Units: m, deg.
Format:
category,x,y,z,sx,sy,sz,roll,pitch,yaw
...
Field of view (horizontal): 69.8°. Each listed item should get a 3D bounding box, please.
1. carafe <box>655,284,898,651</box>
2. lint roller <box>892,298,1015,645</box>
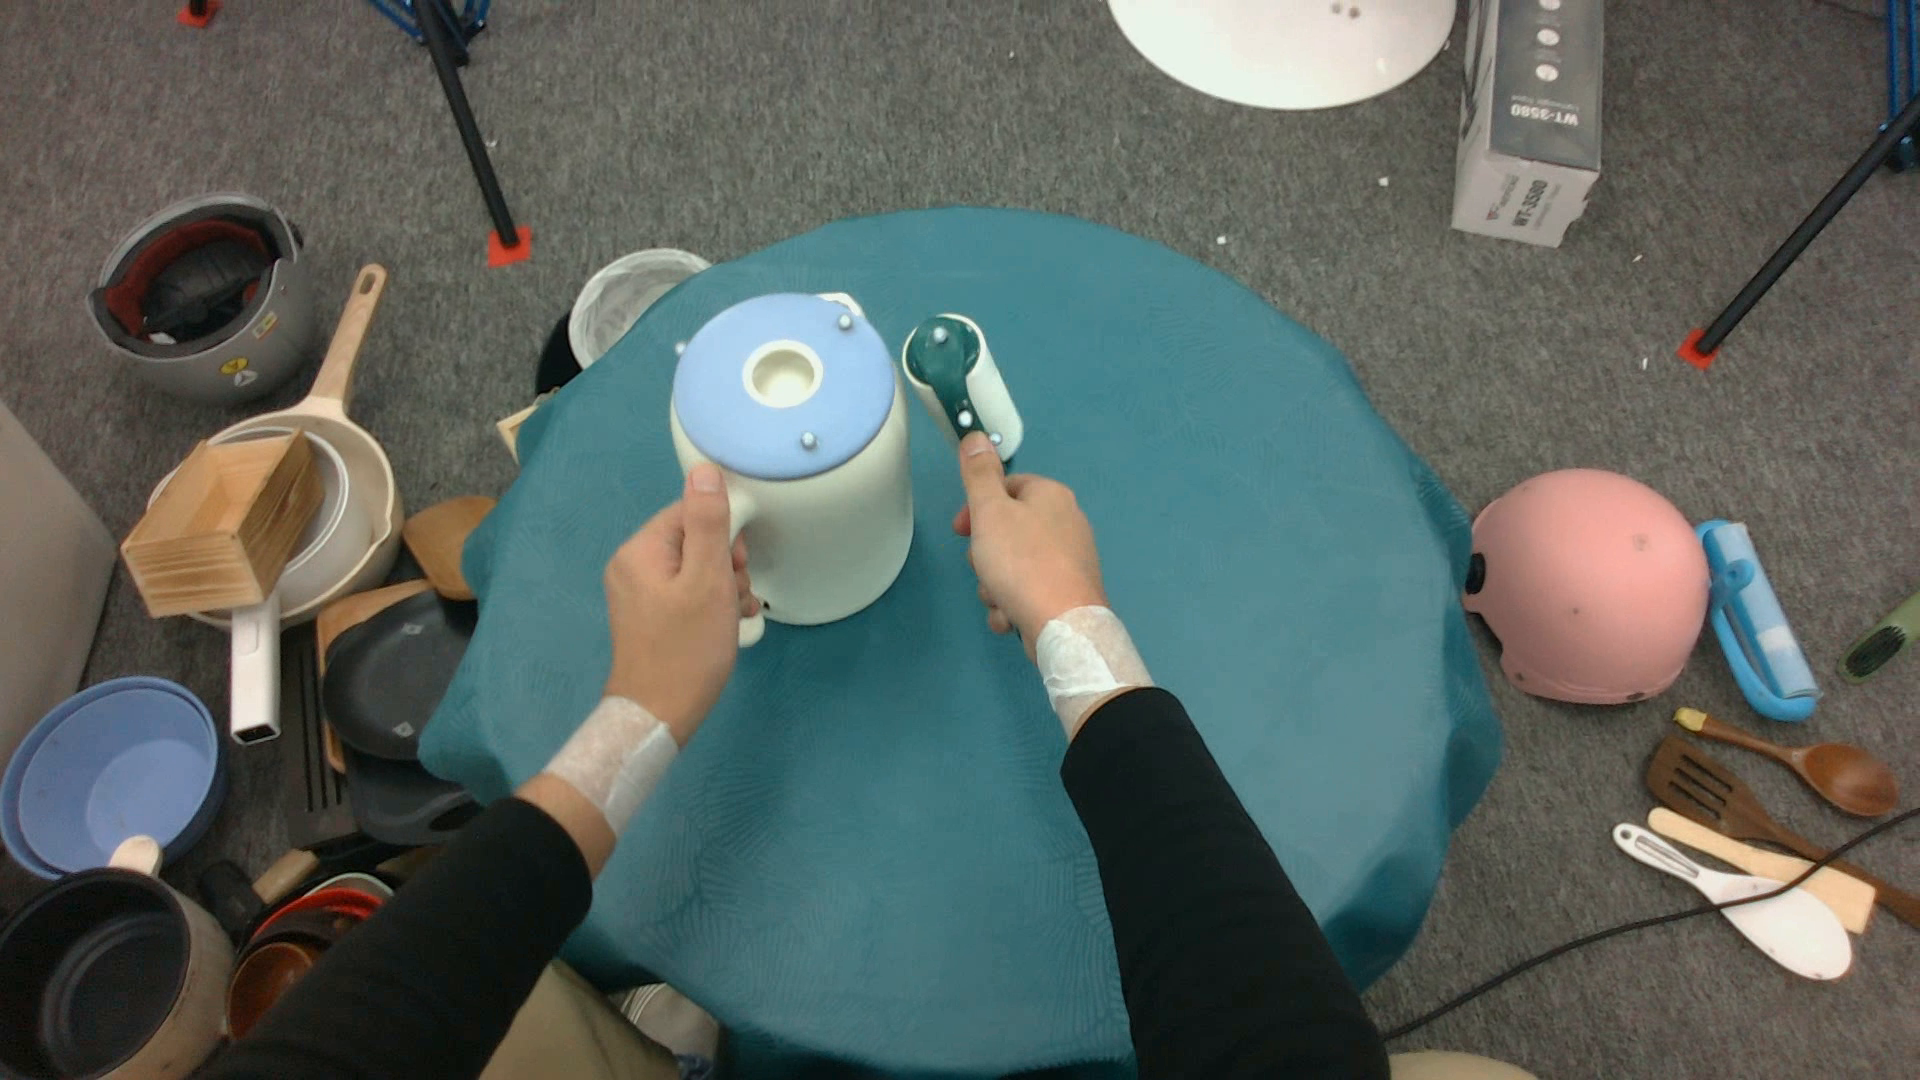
category,x,y,z,sx,sy,sz,roll,pitch,yaw
carafe,-0.113,-0.028,0.793,0.132,0.182,0.192,21,64,10
lint roller,0.017,-0.030,0.766,0.048,0.134,0.180,-22,65,7
